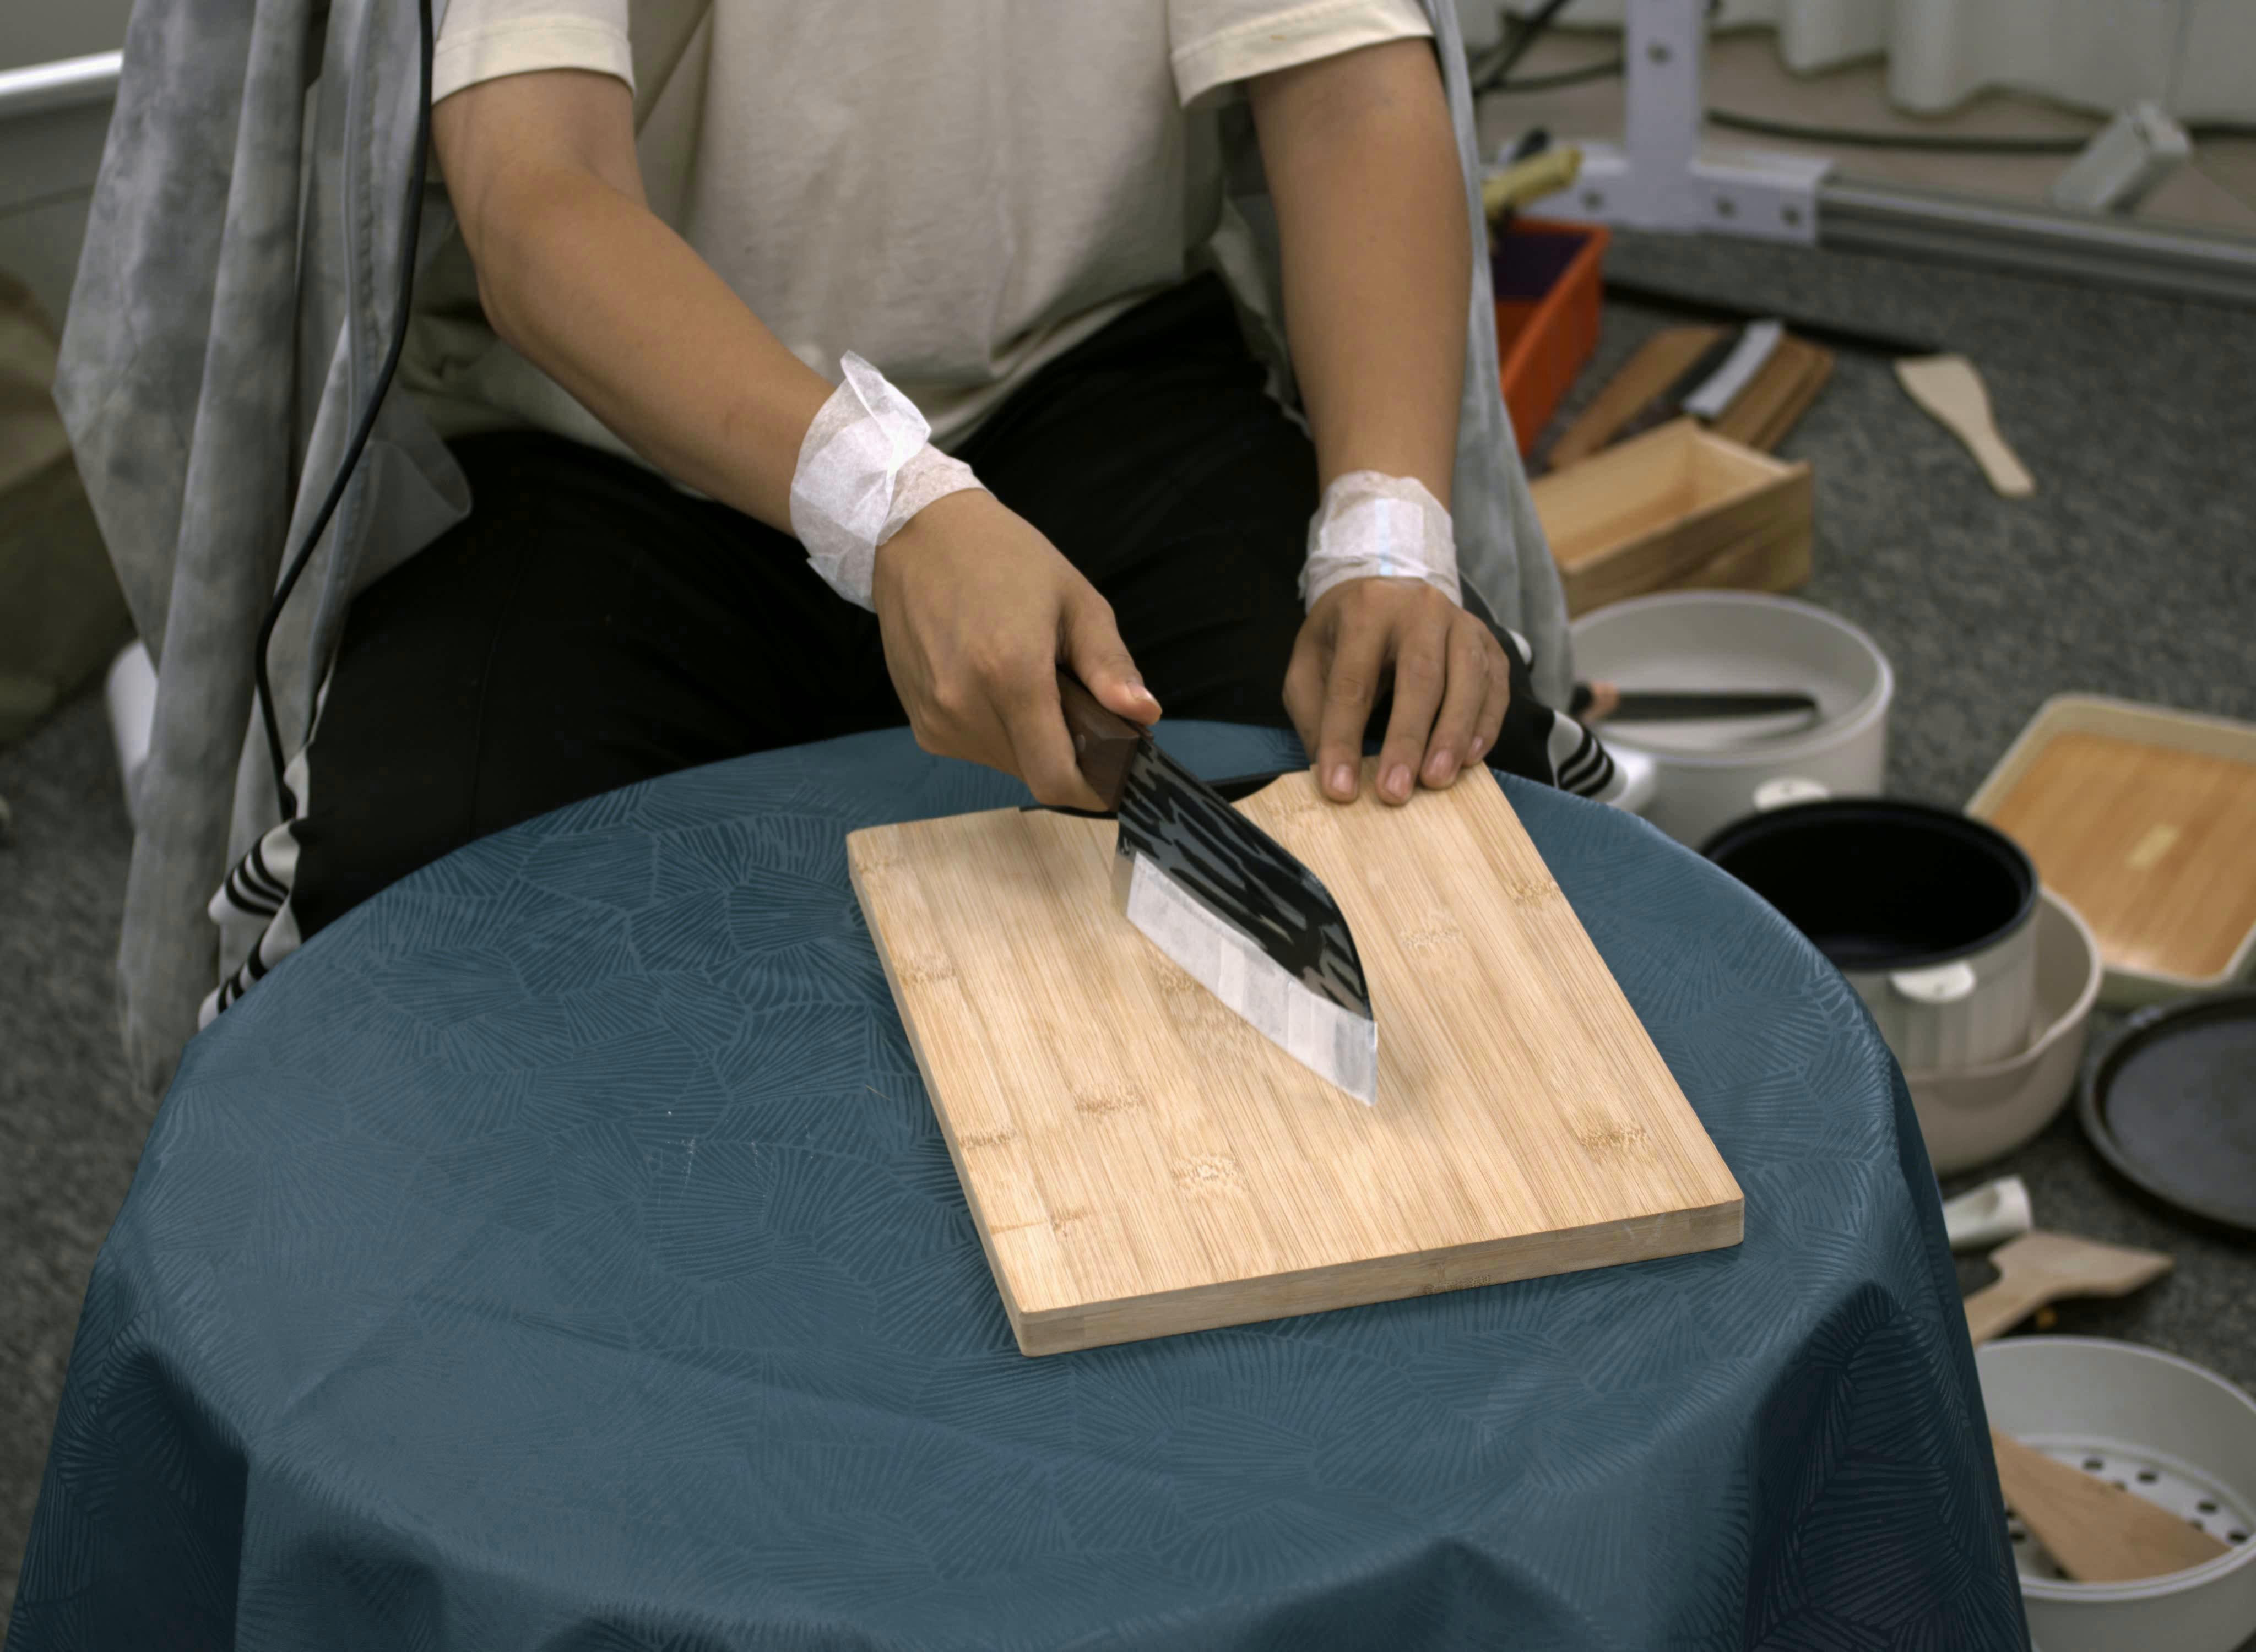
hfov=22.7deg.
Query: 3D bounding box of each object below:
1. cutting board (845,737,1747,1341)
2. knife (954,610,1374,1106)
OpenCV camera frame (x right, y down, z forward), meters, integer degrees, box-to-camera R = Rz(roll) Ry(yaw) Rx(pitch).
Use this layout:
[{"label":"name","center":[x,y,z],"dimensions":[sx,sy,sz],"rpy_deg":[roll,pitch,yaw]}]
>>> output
[{"label":"cutting board","center":[0.048,0.067,1.943],"dimensions":[0.250,0.023,0.352],"rpy_deg":[-8,27,-11]},{"label":"knife","center":[0.012,0.008,1.961],"dimensions":[0.024,0.067,0.301],"rpy_deg":[-3,26,-31]}]
